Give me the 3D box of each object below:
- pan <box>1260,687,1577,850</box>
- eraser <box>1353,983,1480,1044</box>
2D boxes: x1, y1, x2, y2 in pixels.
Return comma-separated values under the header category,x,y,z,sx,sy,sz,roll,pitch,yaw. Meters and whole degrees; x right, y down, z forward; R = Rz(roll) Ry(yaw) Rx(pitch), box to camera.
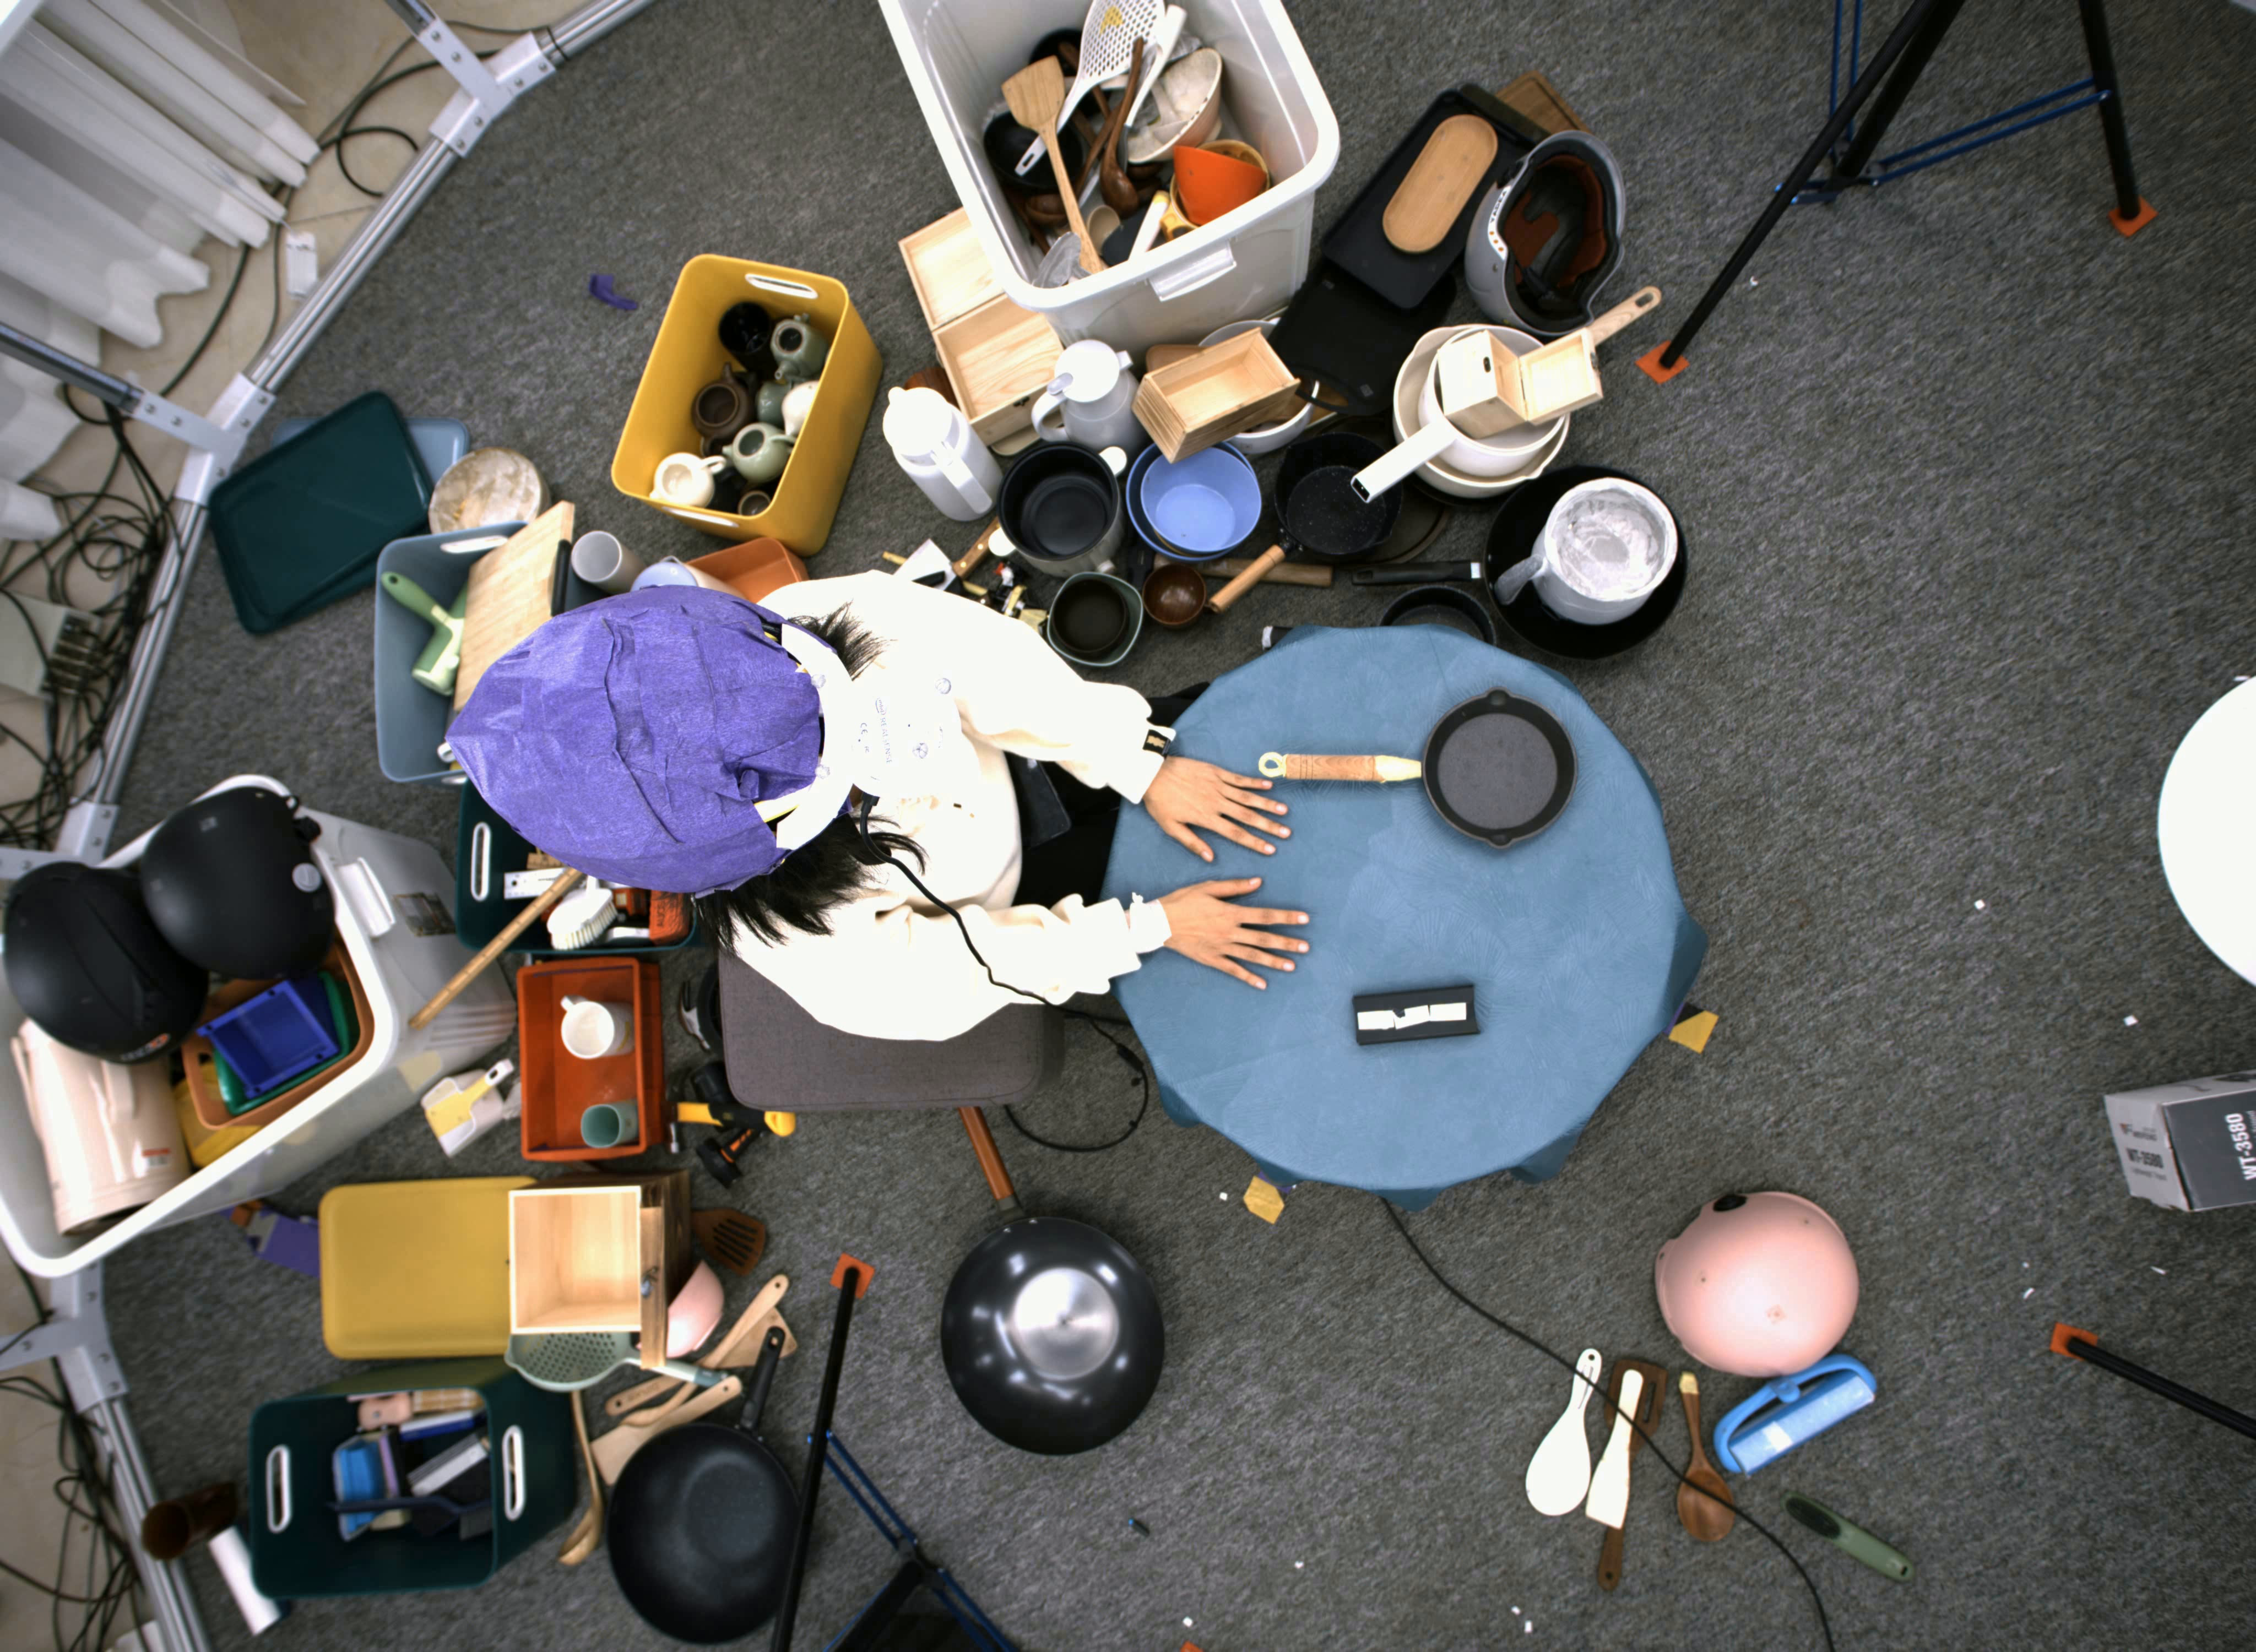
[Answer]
category,x,y,z,sx,sy,sz,roll,pitch,yaw
pan,0.300,-0.063,1.436,0.325,0.049,0.168,2,88,10
eraser,0.299,0.193,1.434,0.126,0.030,0.053,-6,84,11
